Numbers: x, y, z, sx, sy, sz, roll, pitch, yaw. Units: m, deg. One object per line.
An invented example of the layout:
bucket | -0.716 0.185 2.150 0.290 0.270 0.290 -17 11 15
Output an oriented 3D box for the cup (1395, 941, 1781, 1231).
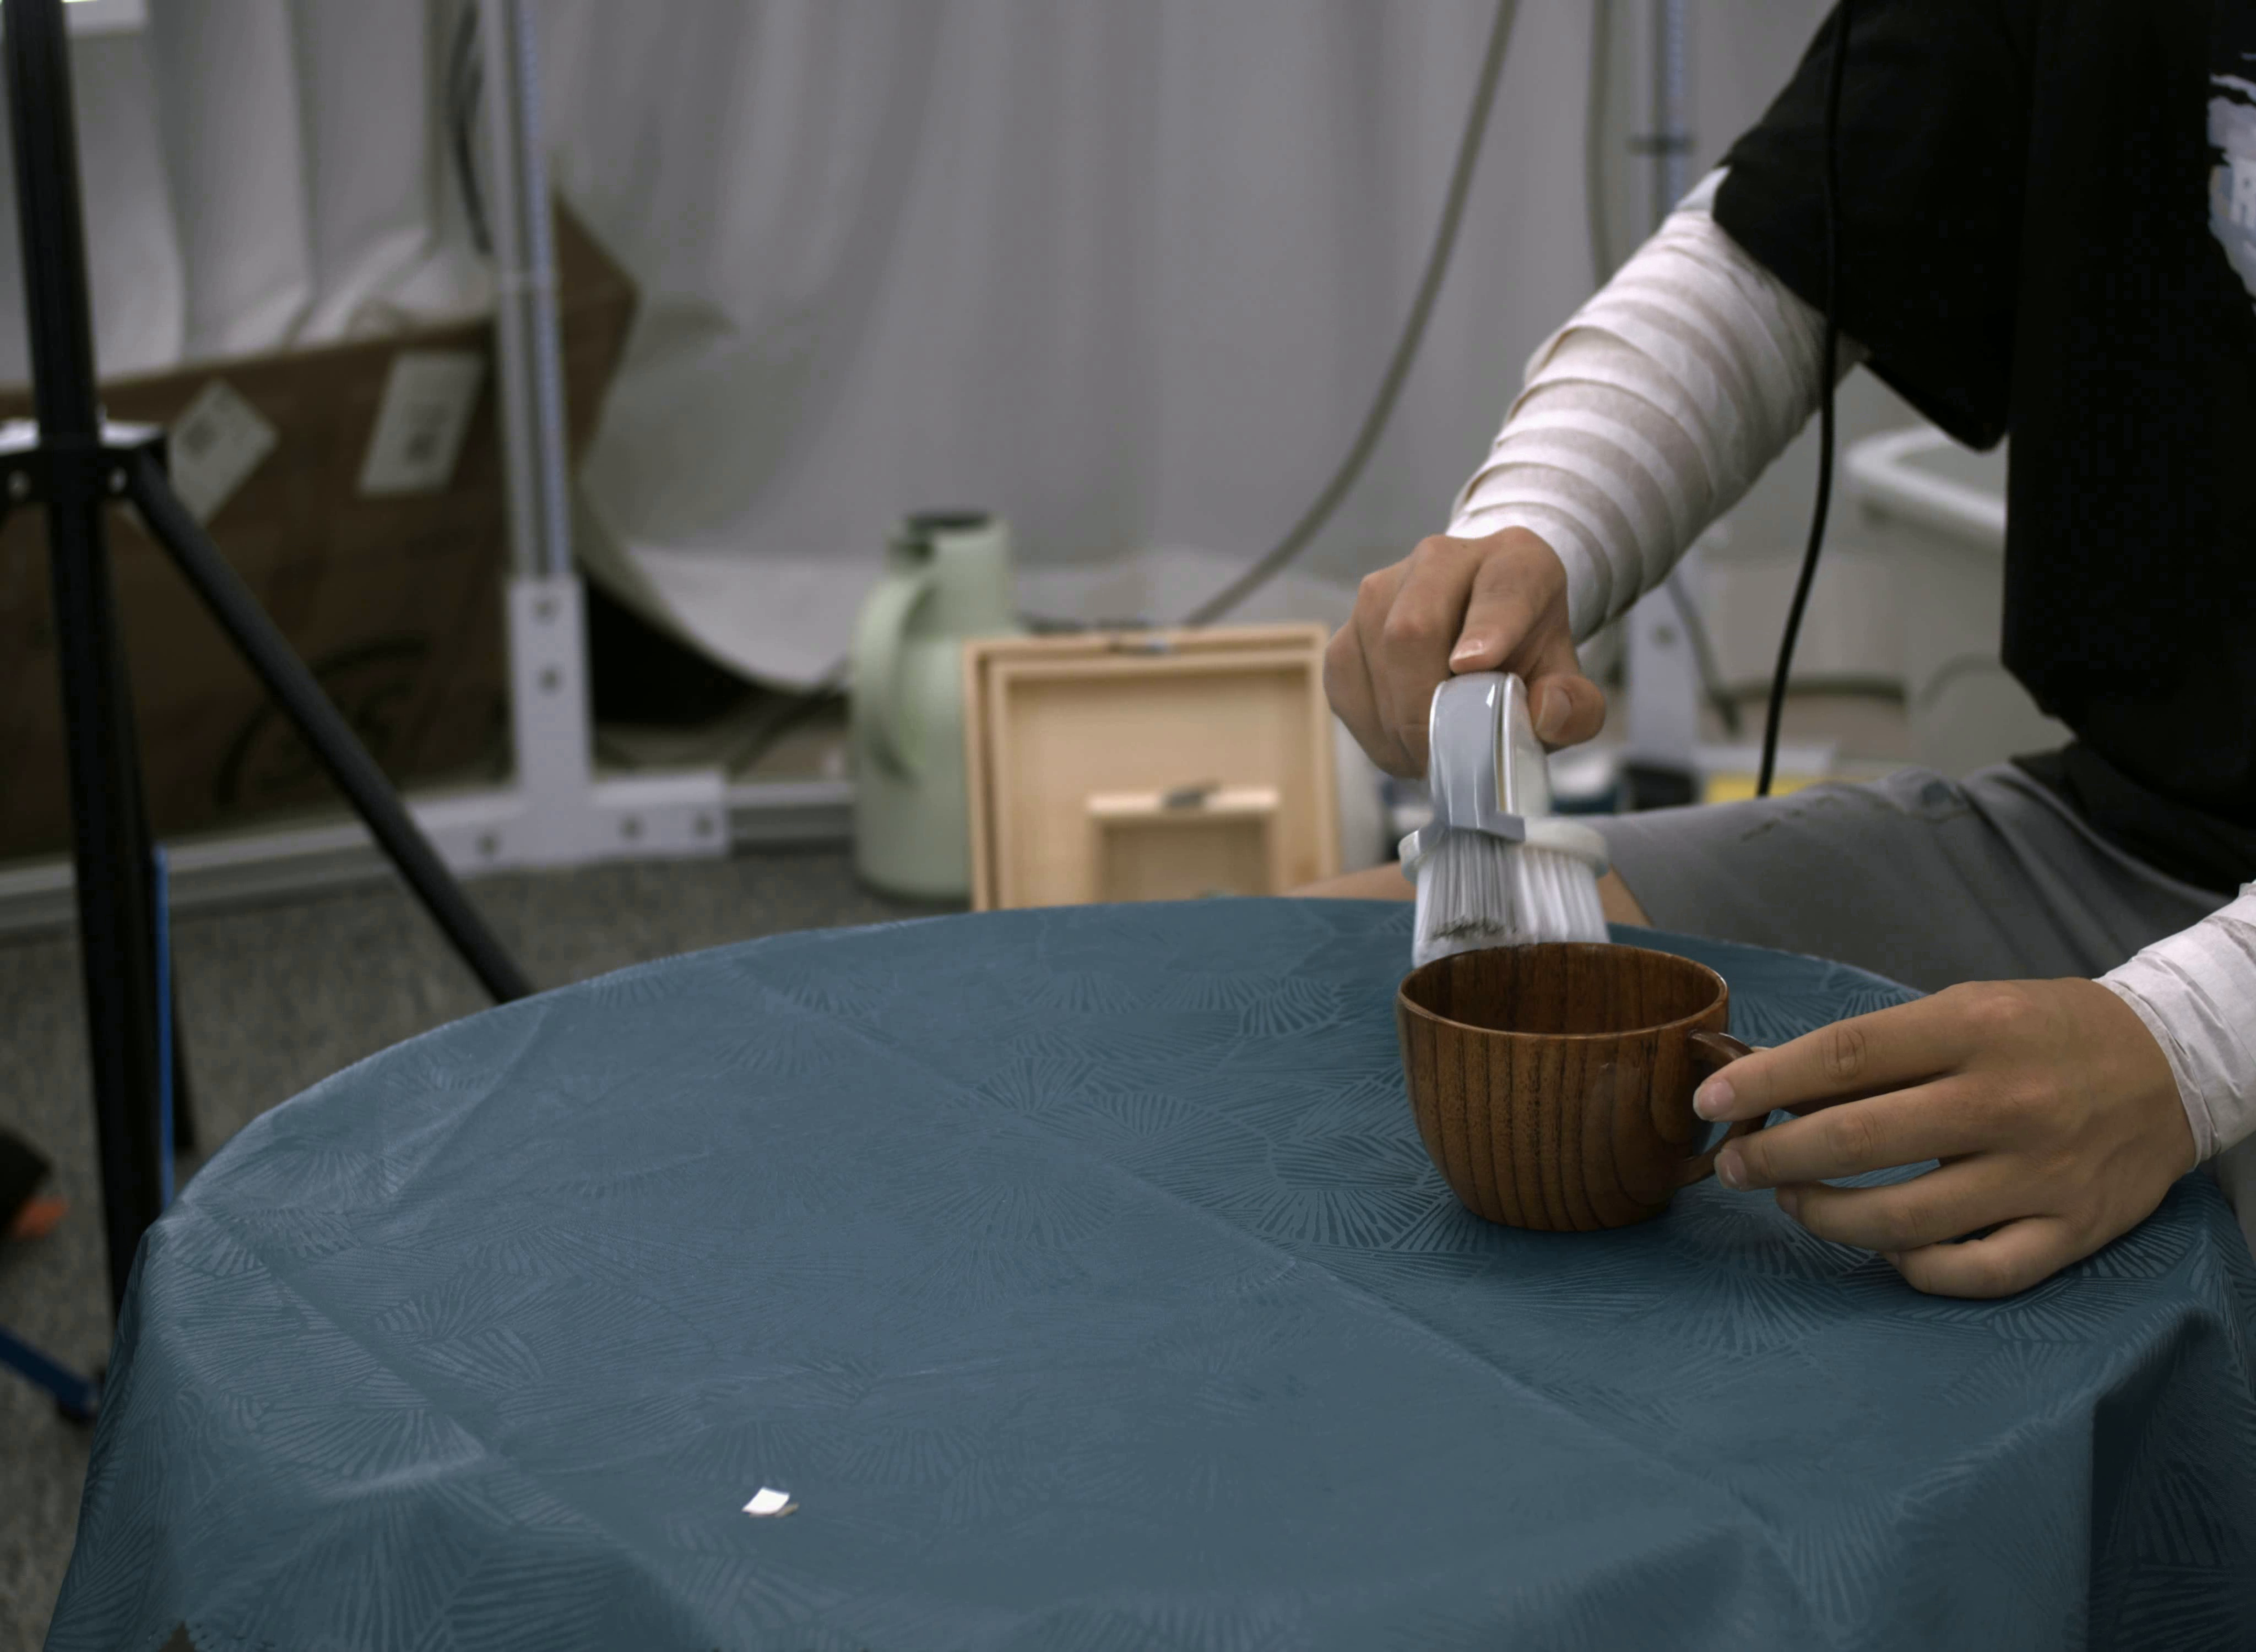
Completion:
cup | 0.134 0.079 1.521 0.122 0.068 0.094 13 19 39

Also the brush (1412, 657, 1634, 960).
brush | 0.112 -0.006 1.602 0.062 0.095 0.173 -12 -6 11
